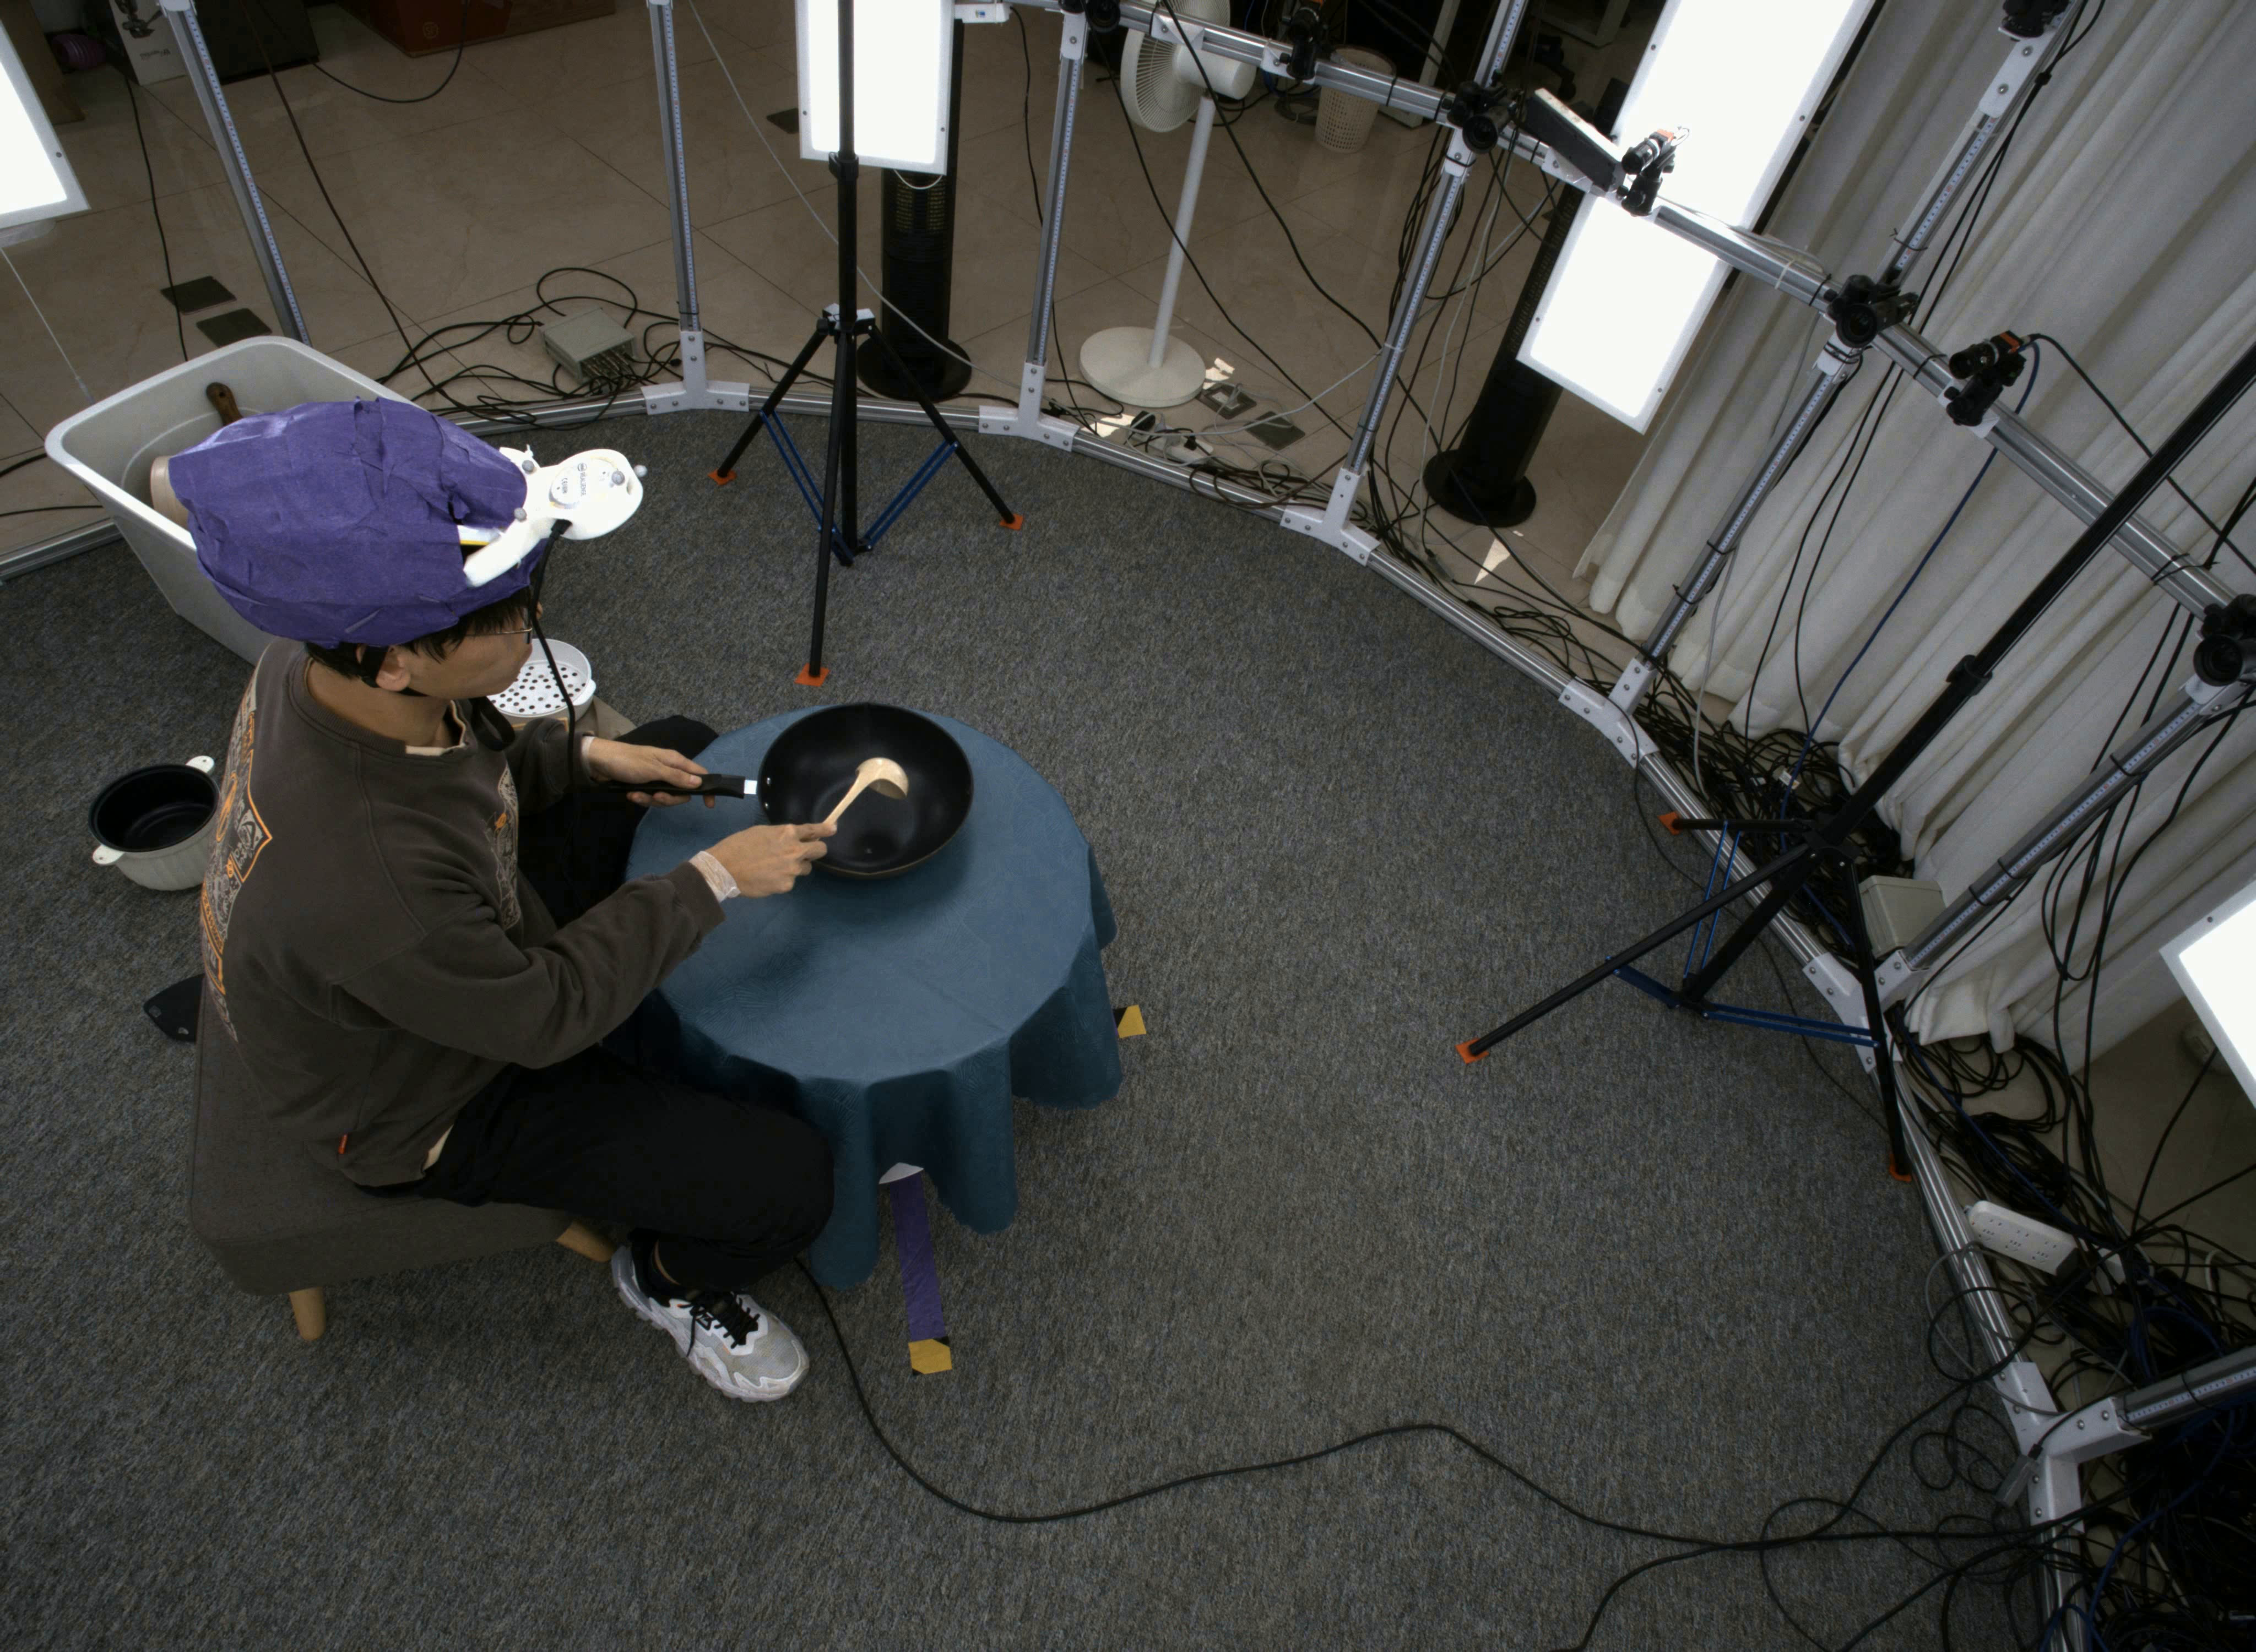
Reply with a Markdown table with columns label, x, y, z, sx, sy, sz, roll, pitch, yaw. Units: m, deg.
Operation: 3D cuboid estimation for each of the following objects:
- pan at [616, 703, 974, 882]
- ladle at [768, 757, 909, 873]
| label | x | y | z | sx | sy | sz | roll | pitch | yaw |
| --- | --- | --- | --- | --- | --- | --- | --- | --- | --- |
| pan | -0.434 | -0.031 | 1.707 | 0.463 | 0.089 | 0.282 | 0 | 54 | -12 |
| ladle | -0.365 | 0.002 | 1.631 | 0.070 | 0.075 | 0.253 | 22 | 47 | 16 |
